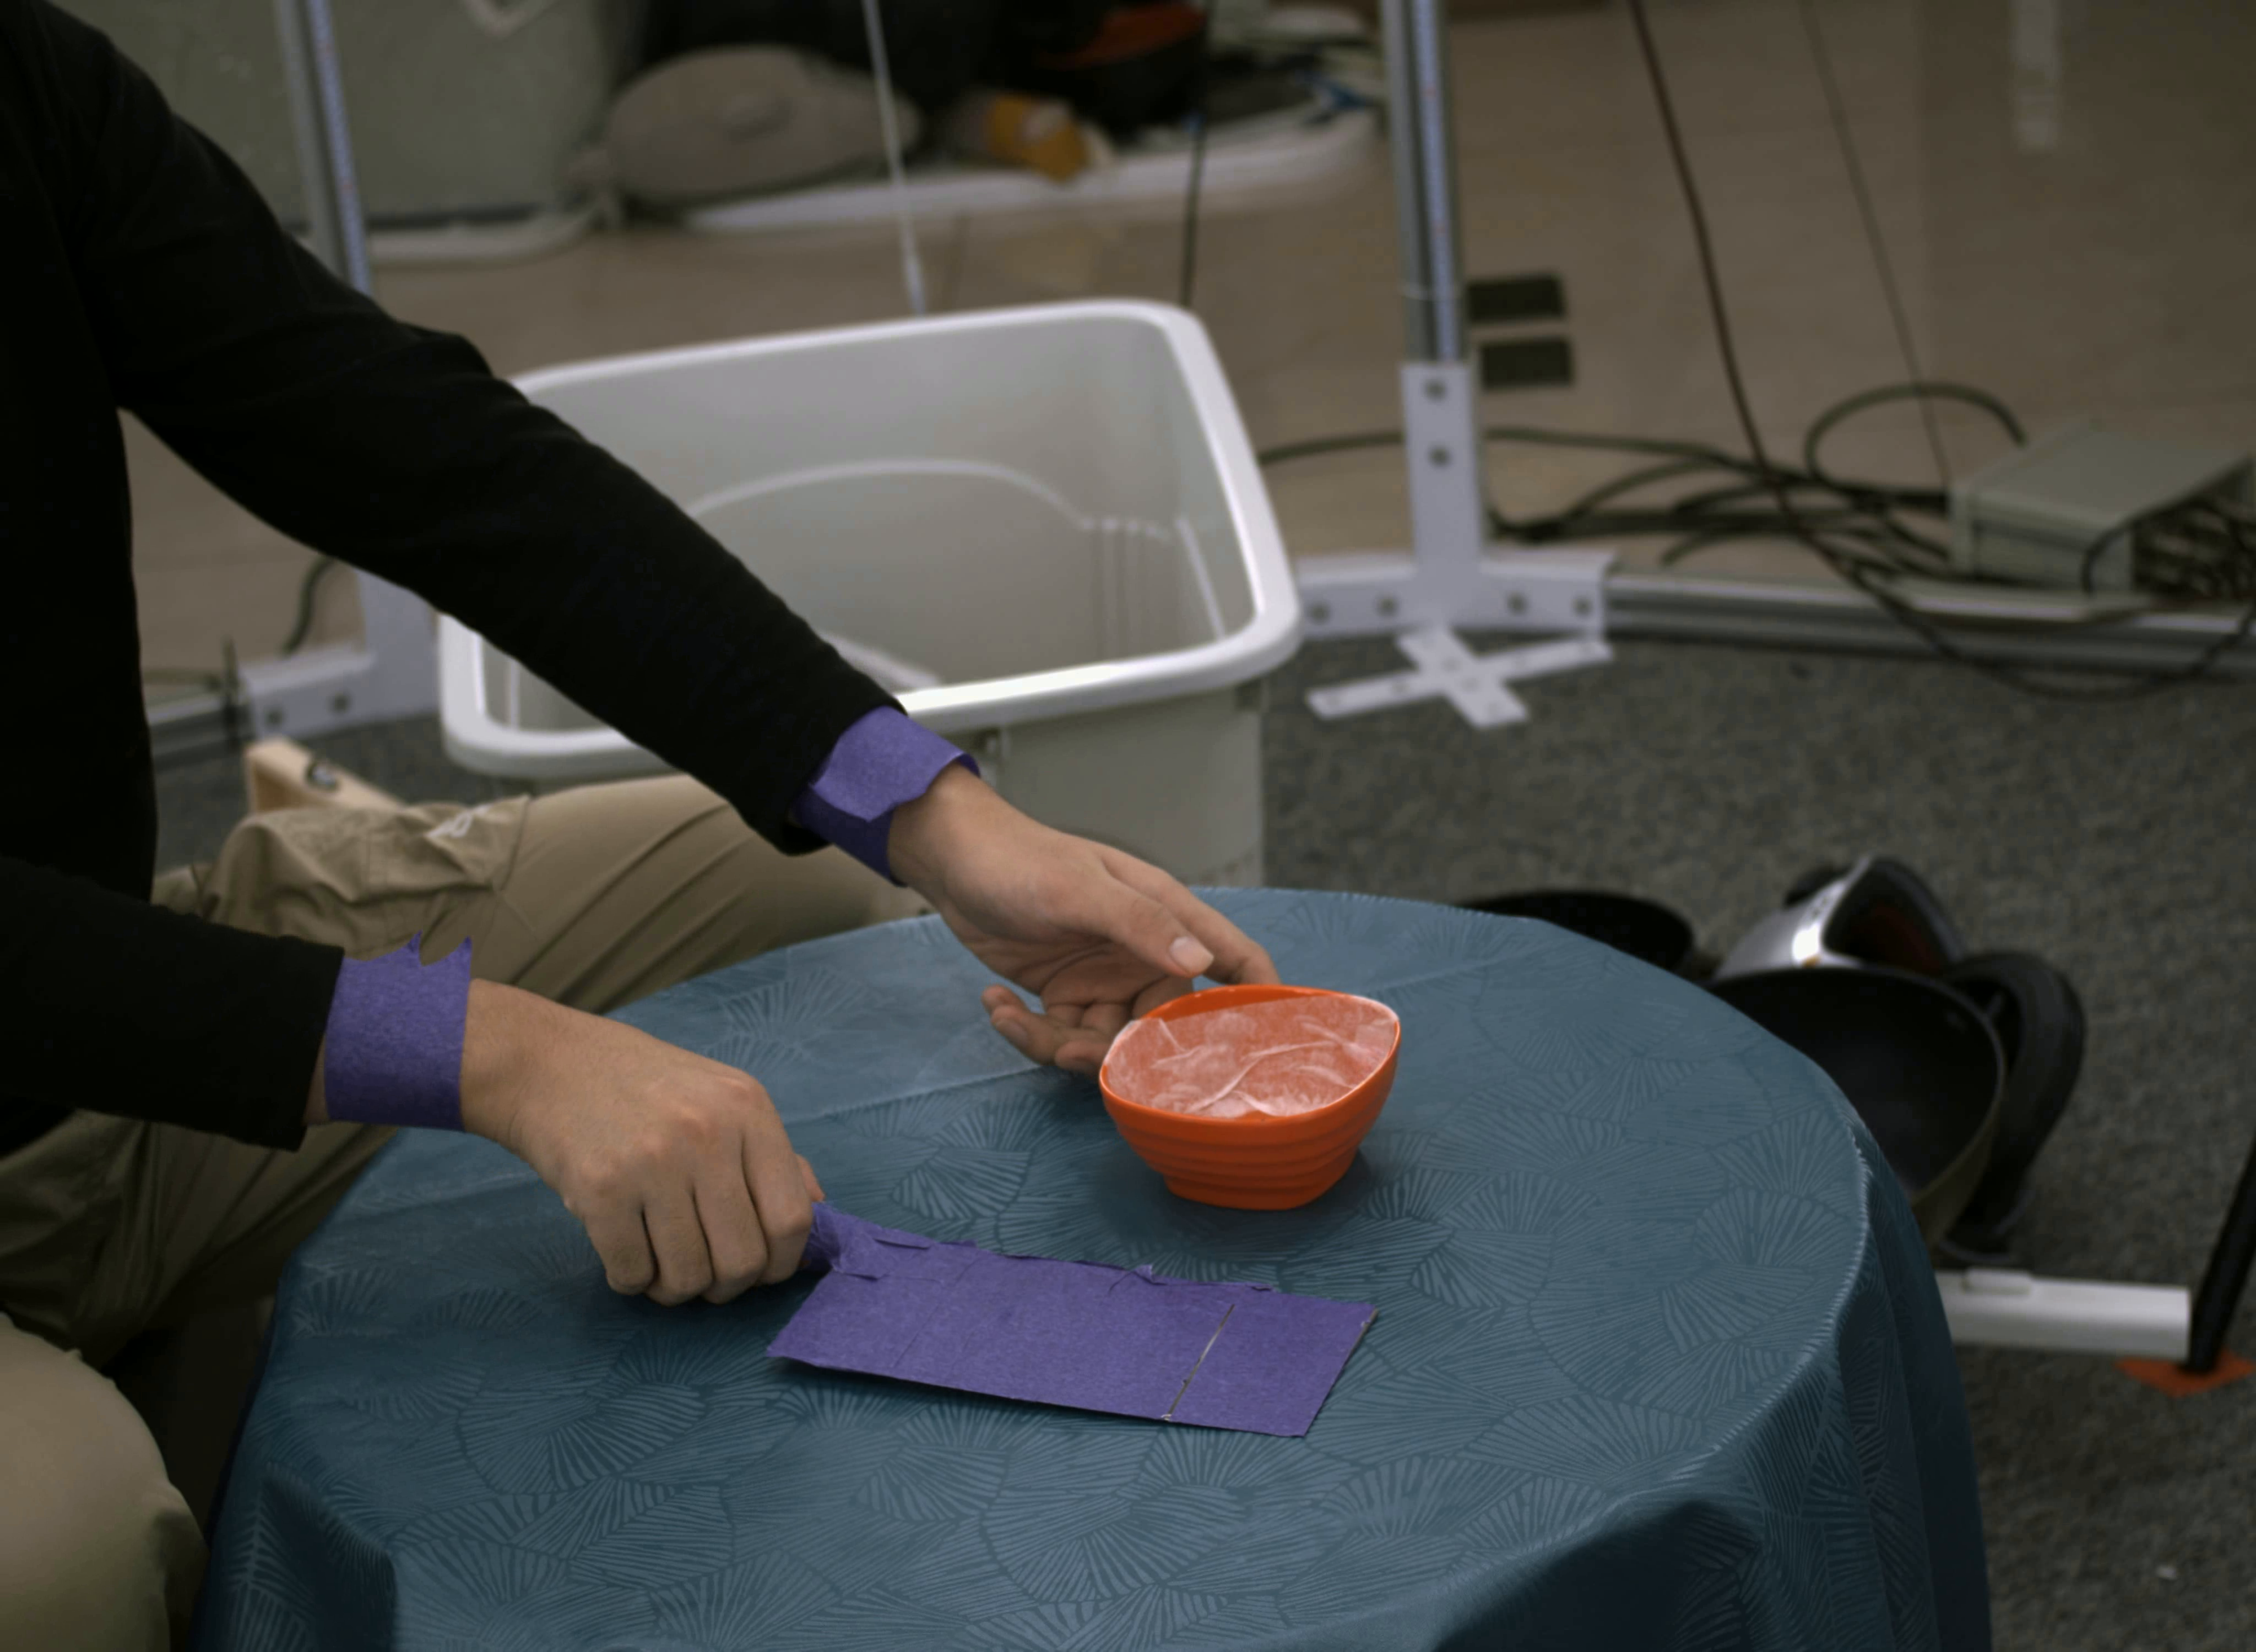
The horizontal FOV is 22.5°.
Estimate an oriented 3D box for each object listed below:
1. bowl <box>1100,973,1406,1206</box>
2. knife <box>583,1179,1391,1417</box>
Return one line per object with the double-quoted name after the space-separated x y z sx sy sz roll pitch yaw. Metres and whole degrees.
0.048 0.104 2.145 0.119 0.052 0.117 -3 28 2 "bowl"
-0.066 0.171 2.065 0.314 0.033 0.102 4 27 21 "knife"
